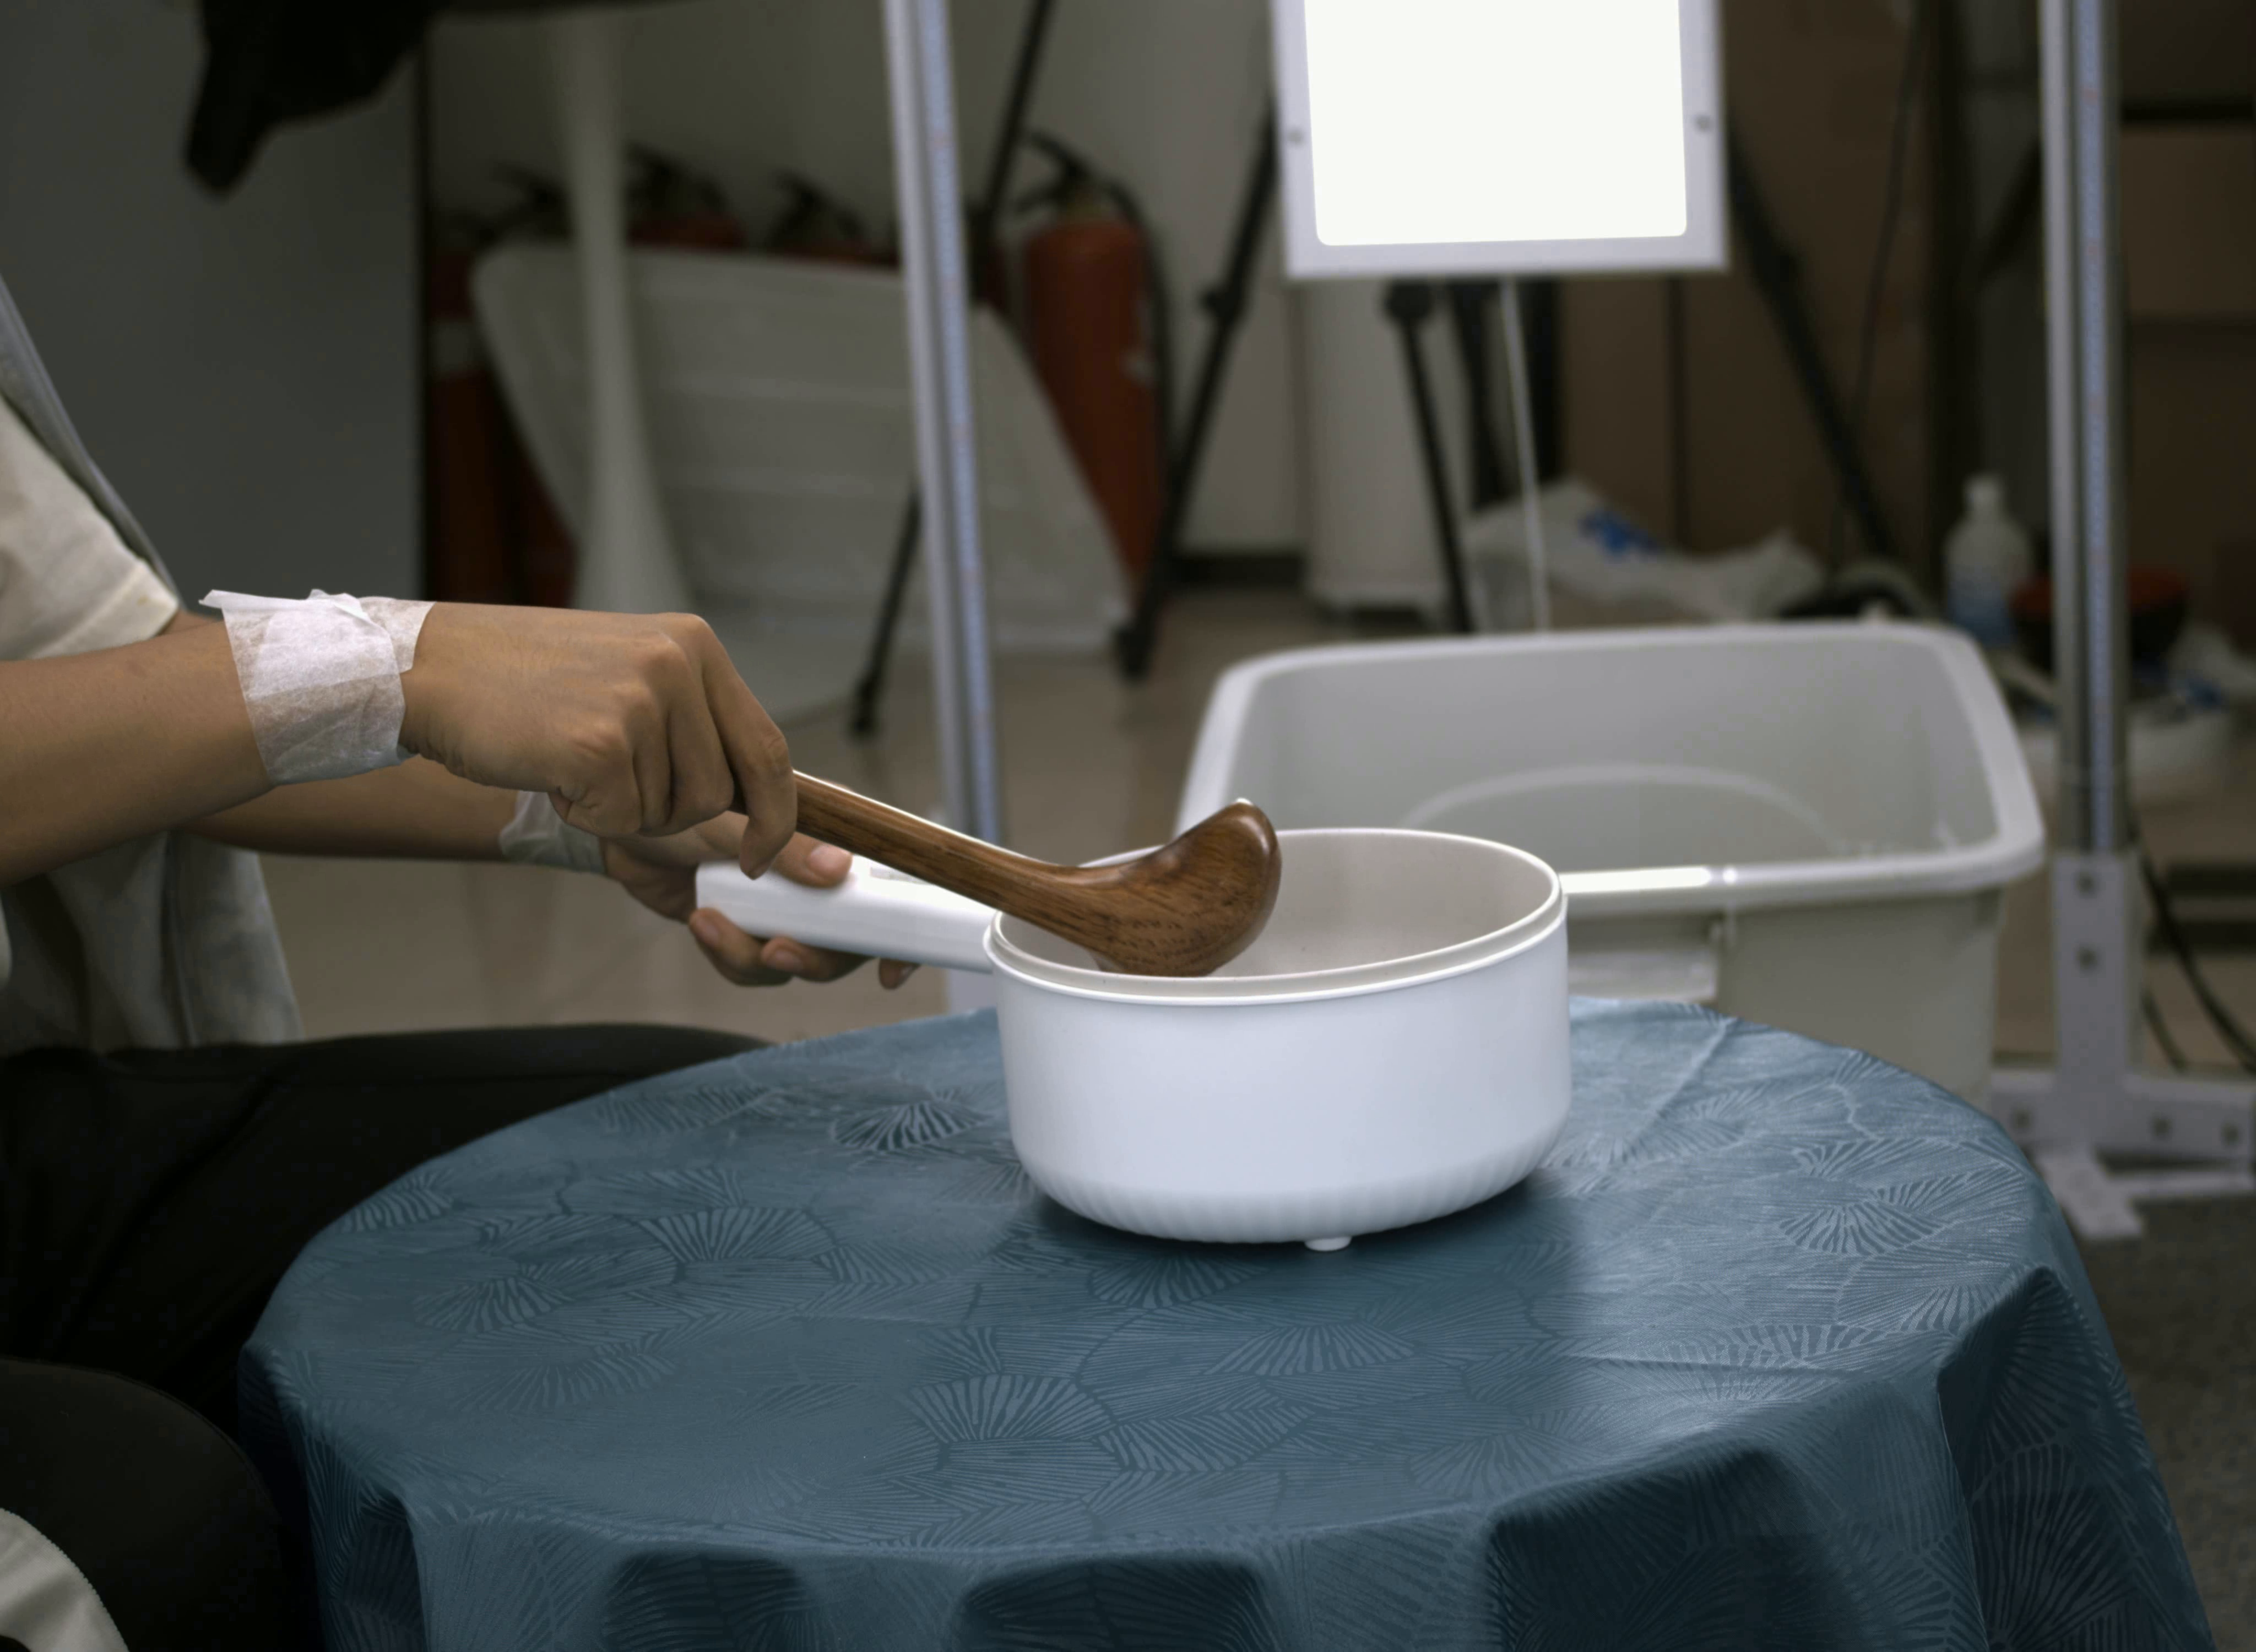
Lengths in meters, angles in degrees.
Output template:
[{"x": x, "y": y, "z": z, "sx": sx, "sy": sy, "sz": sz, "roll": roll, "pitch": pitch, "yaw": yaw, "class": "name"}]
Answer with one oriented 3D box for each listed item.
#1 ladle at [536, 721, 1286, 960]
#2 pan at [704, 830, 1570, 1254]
[{"x": -0.071, "y": -0.004, "z": 1.864, "sx": 0.270, "sy": 0.083, "sz": 0.077, "roll": 16, "pitch": 18, "yaw": -15, "class": "ladle"}, {"x": -0.006, "y": 0.069, "z": 1.930, "sx": 0.362, "sy": 0.102, "sz": 0.196, "roll": 6, "pitch": 18, "yaw": 40, "class": "pan"}]
